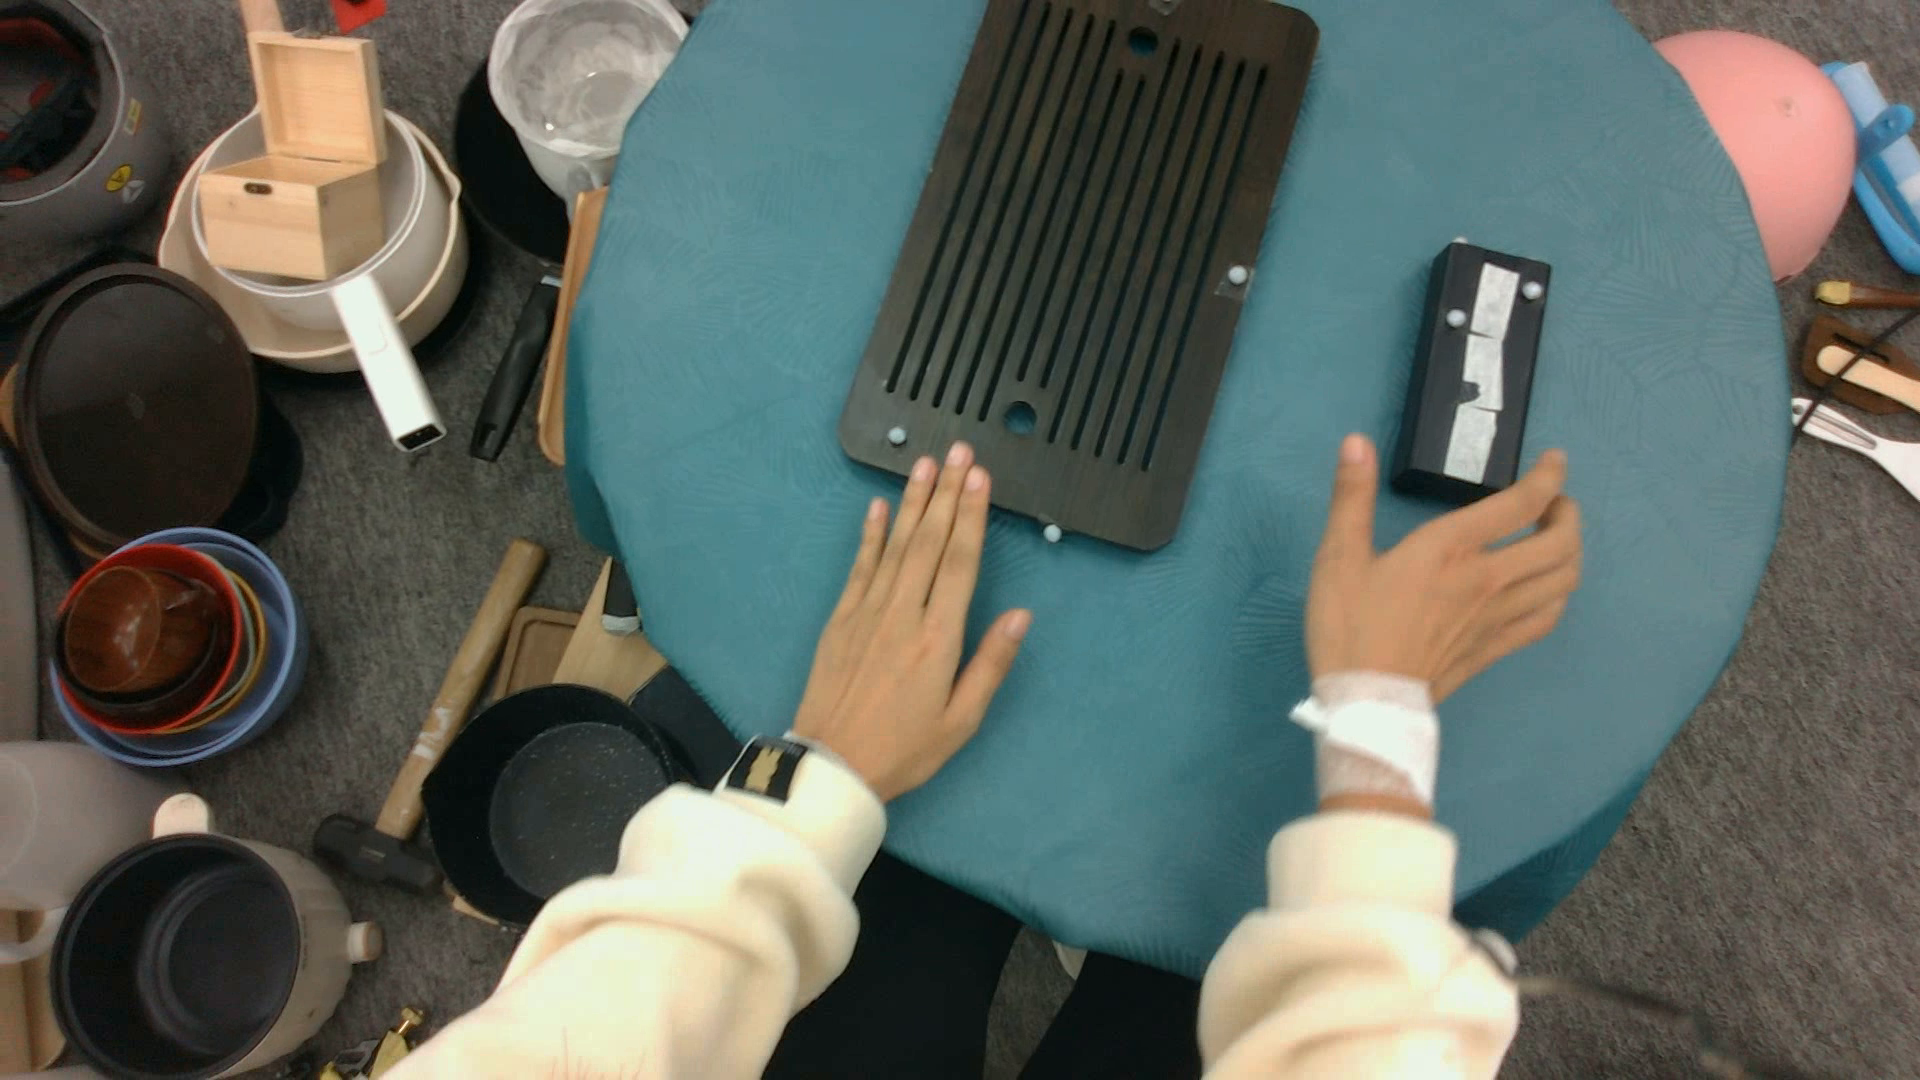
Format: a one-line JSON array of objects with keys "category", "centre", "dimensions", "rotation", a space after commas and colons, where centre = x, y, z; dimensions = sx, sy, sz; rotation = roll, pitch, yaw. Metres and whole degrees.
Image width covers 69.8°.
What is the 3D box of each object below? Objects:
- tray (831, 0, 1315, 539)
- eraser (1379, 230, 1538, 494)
[{"category": "tray", "centre": [0.062, -0.162, 0.690], "dimensions": [0.170, 0.018, 0.306], "rotation": [17, 75, 4]}, {"category": "eraser", "centre": [0.242, -0.088, 0.669], "dimensions": [0.053, 0.030, 0.126], "rotation": [14, 76, 5]}]
